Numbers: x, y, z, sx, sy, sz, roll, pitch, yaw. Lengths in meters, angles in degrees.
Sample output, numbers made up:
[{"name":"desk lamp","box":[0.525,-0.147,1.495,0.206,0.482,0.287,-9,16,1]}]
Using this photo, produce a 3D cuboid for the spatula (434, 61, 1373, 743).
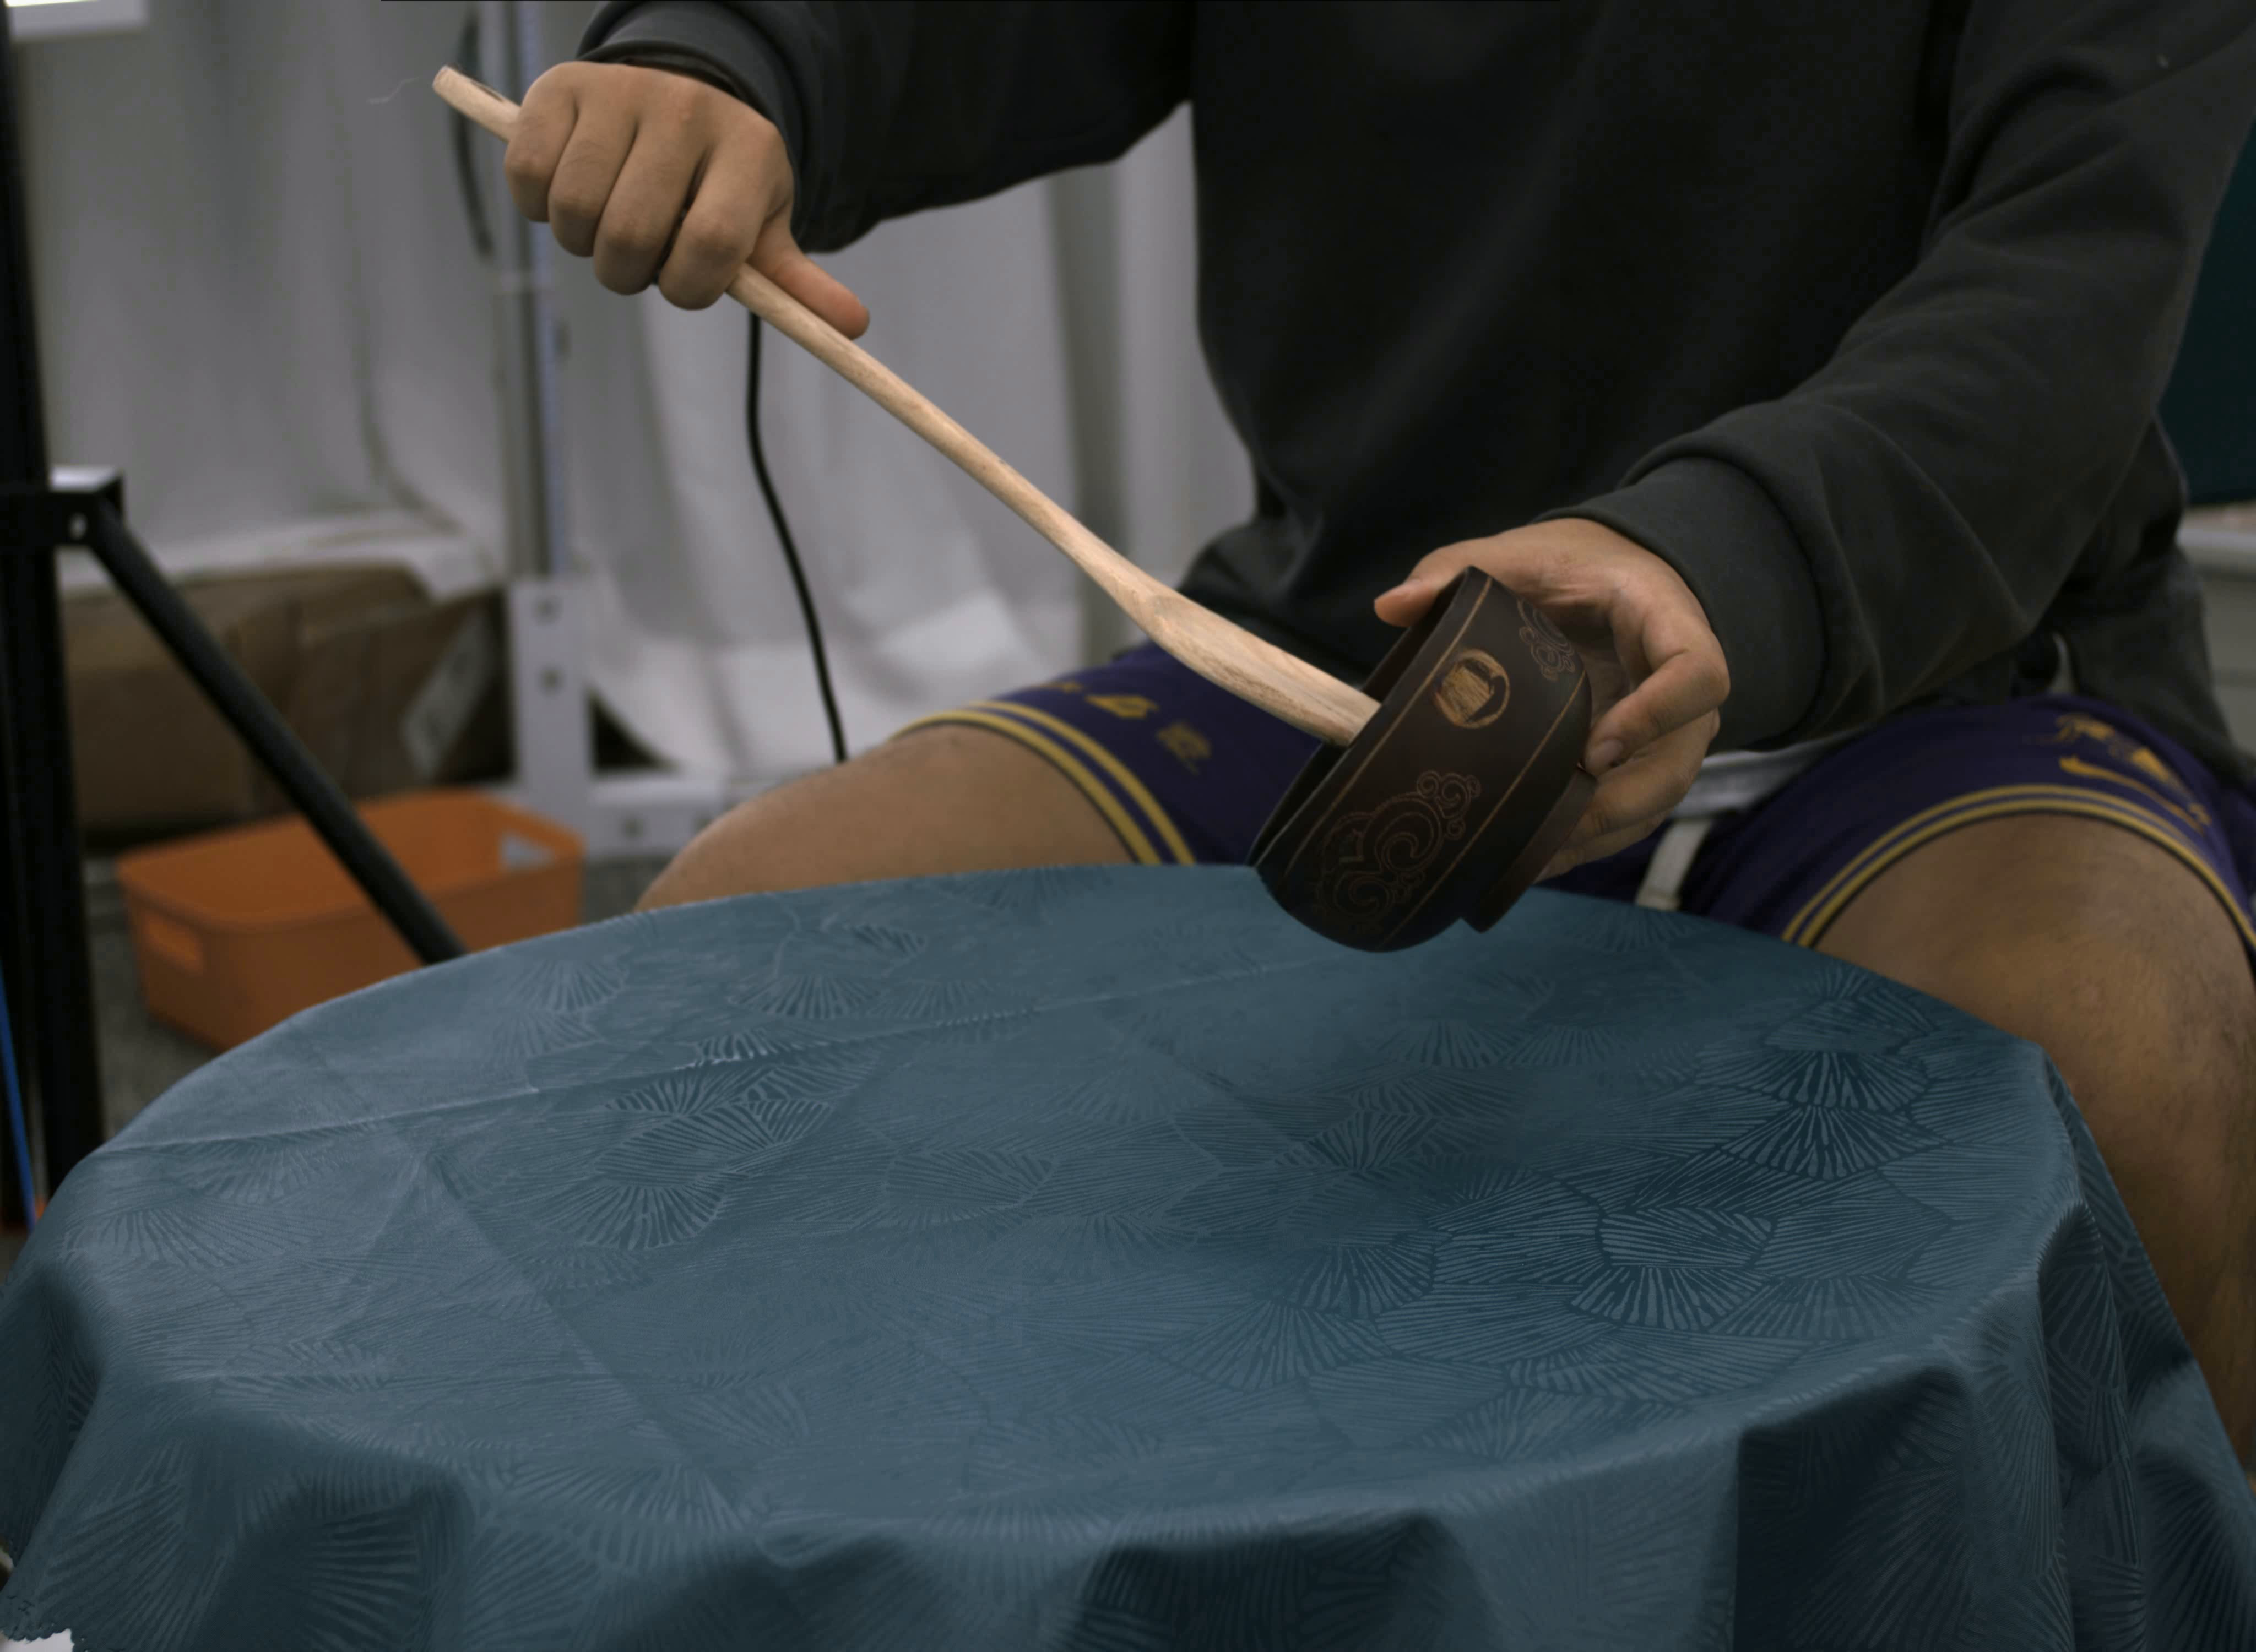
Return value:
[{"name":"spatula","box":[-0.067,-0.127,1.614,0.396,0.018,0.094,38,10,19]}]

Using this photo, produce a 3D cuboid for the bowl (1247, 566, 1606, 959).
[{"name":"bowl","box":[0.096,-0.009,1.556,0.070,0.119,0.116,39,26,6]}]
